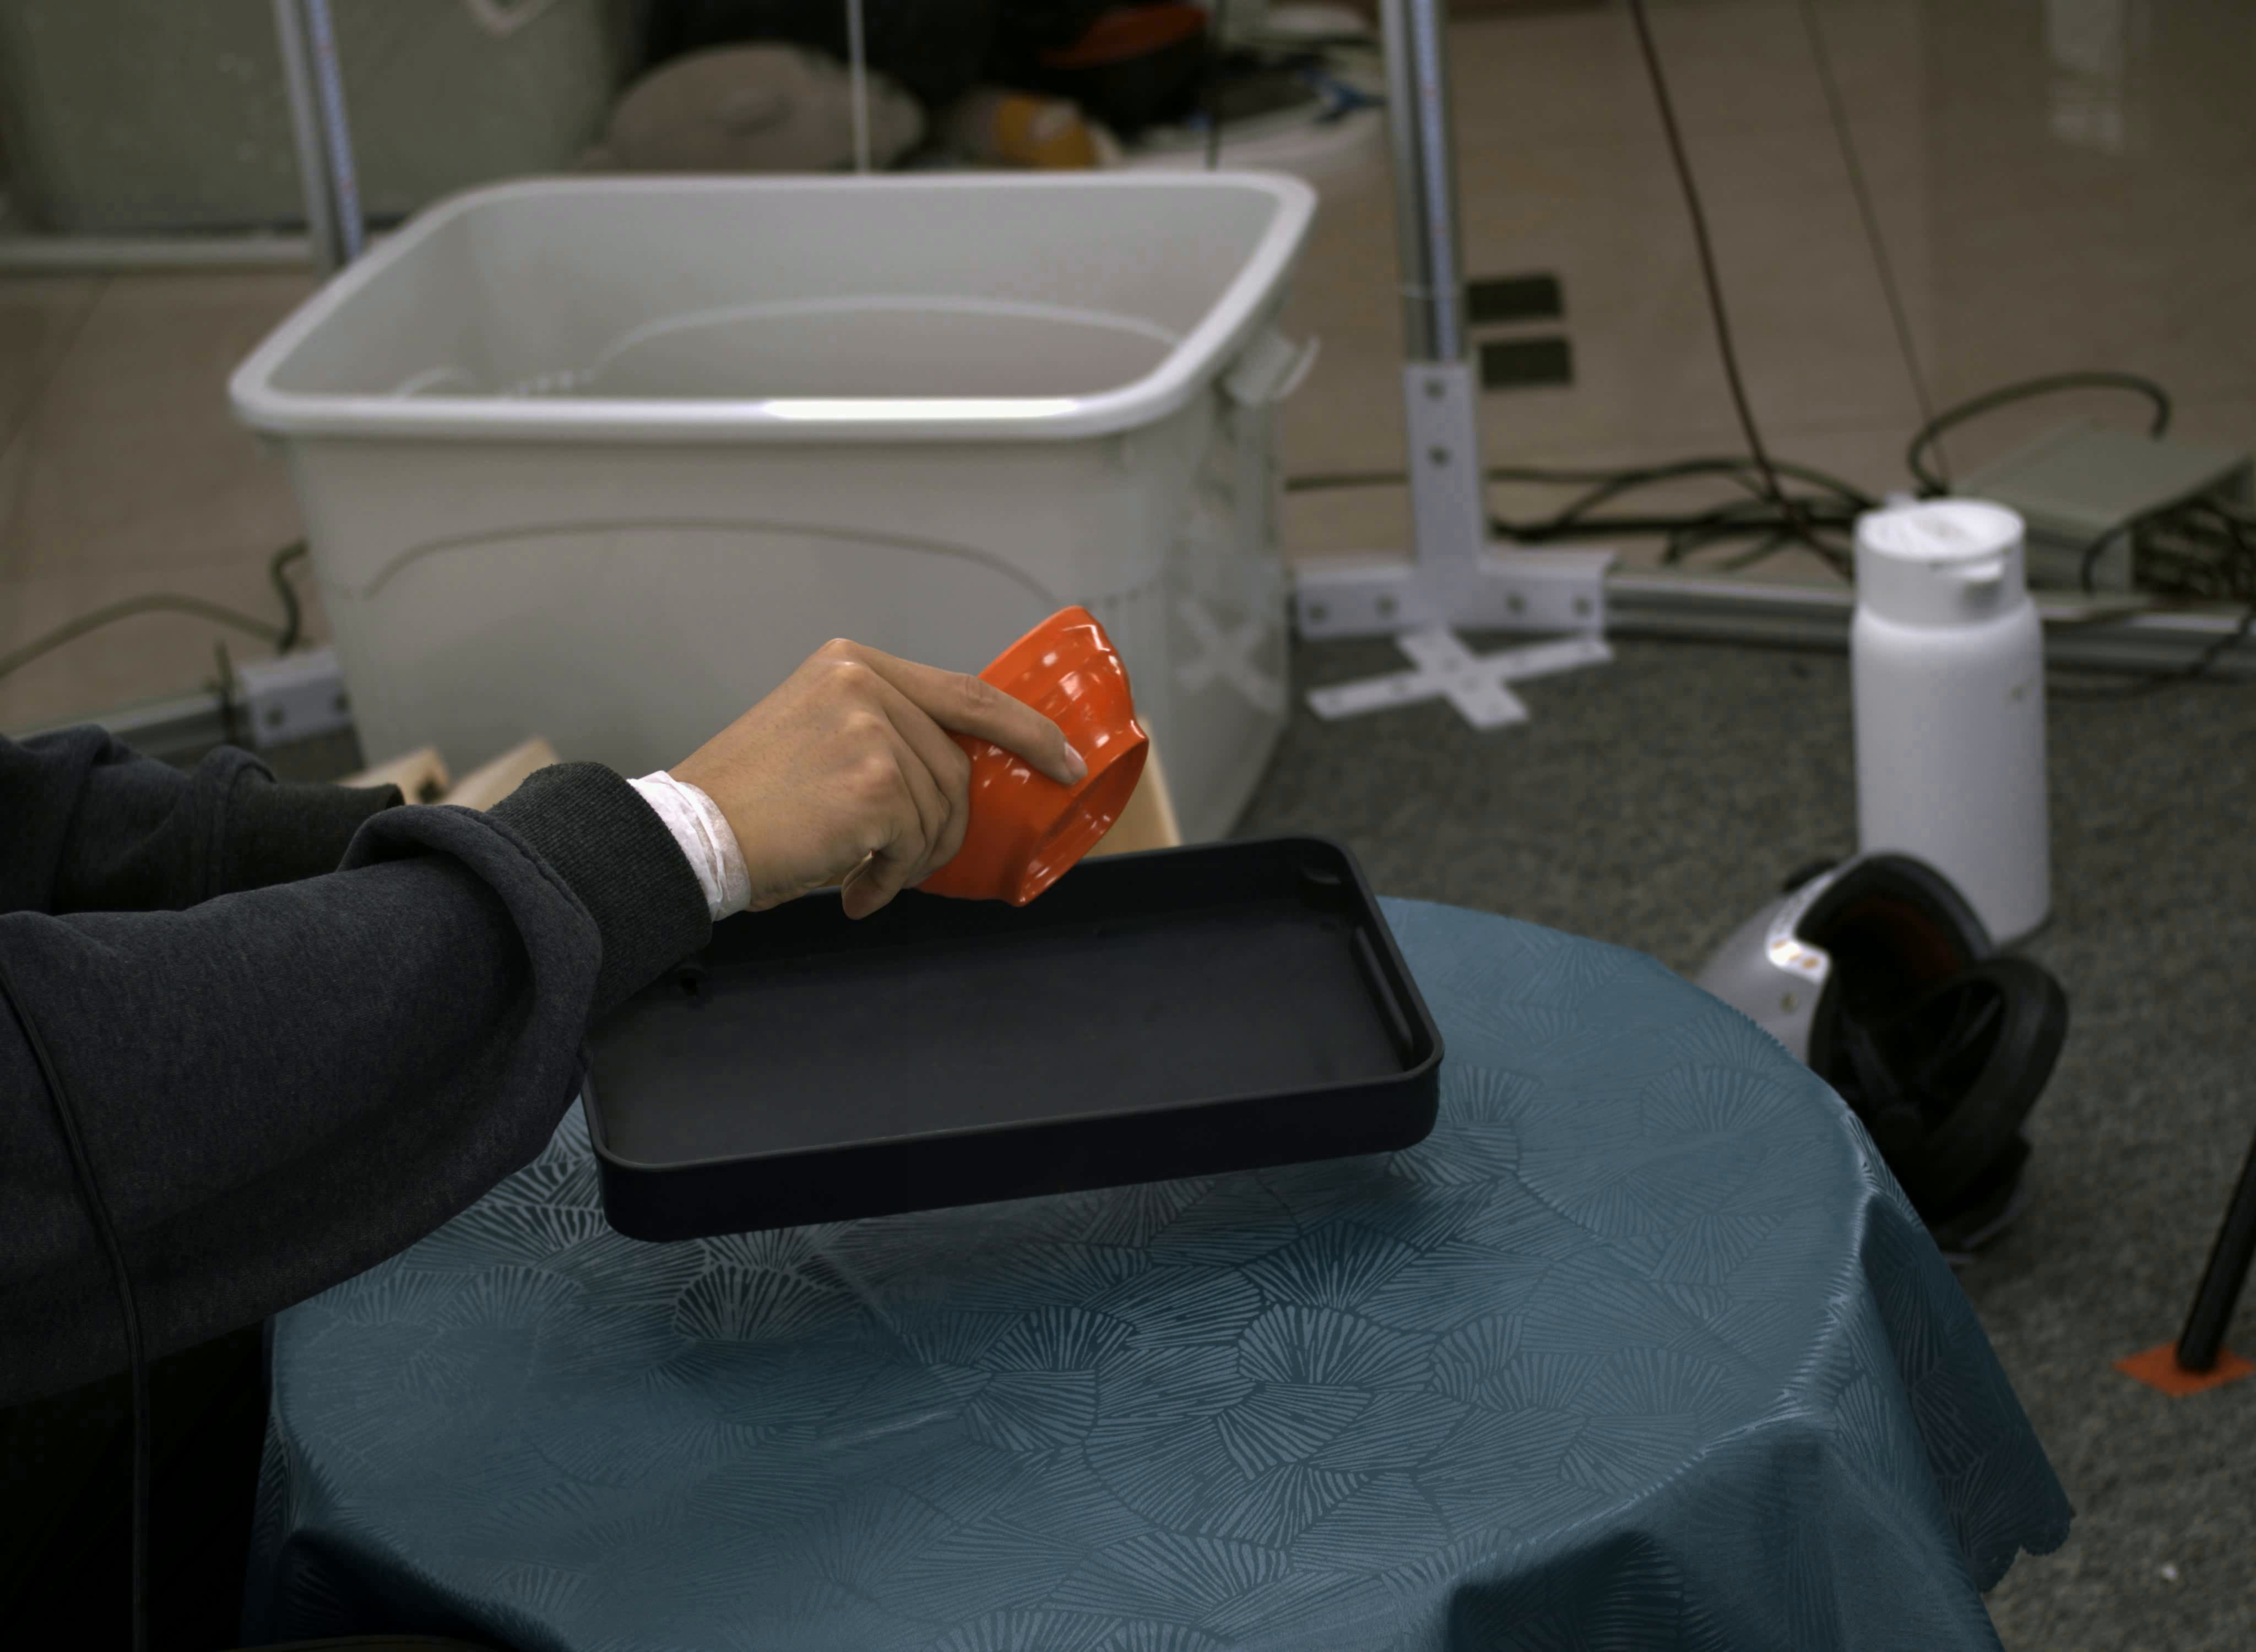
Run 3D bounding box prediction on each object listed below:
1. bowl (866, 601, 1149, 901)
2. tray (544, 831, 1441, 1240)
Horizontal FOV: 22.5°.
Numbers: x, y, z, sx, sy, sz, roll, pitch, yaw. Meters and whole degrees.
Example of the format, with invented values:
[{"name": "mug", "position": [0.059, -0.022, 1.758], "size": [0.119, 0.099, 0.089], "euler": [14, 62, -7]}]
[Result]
[{"name": "bowl", "position": [-0.036, -0.018, 1.986], "size": [0.051, 0.121, 0.117], "euler": [43, 42, 11]}, {"name": "tray", "position": [-0.053, 0.076, 2.137], "size": [0.317, 0.038, 0.181], "euler": [-6, 32, -10]}]
